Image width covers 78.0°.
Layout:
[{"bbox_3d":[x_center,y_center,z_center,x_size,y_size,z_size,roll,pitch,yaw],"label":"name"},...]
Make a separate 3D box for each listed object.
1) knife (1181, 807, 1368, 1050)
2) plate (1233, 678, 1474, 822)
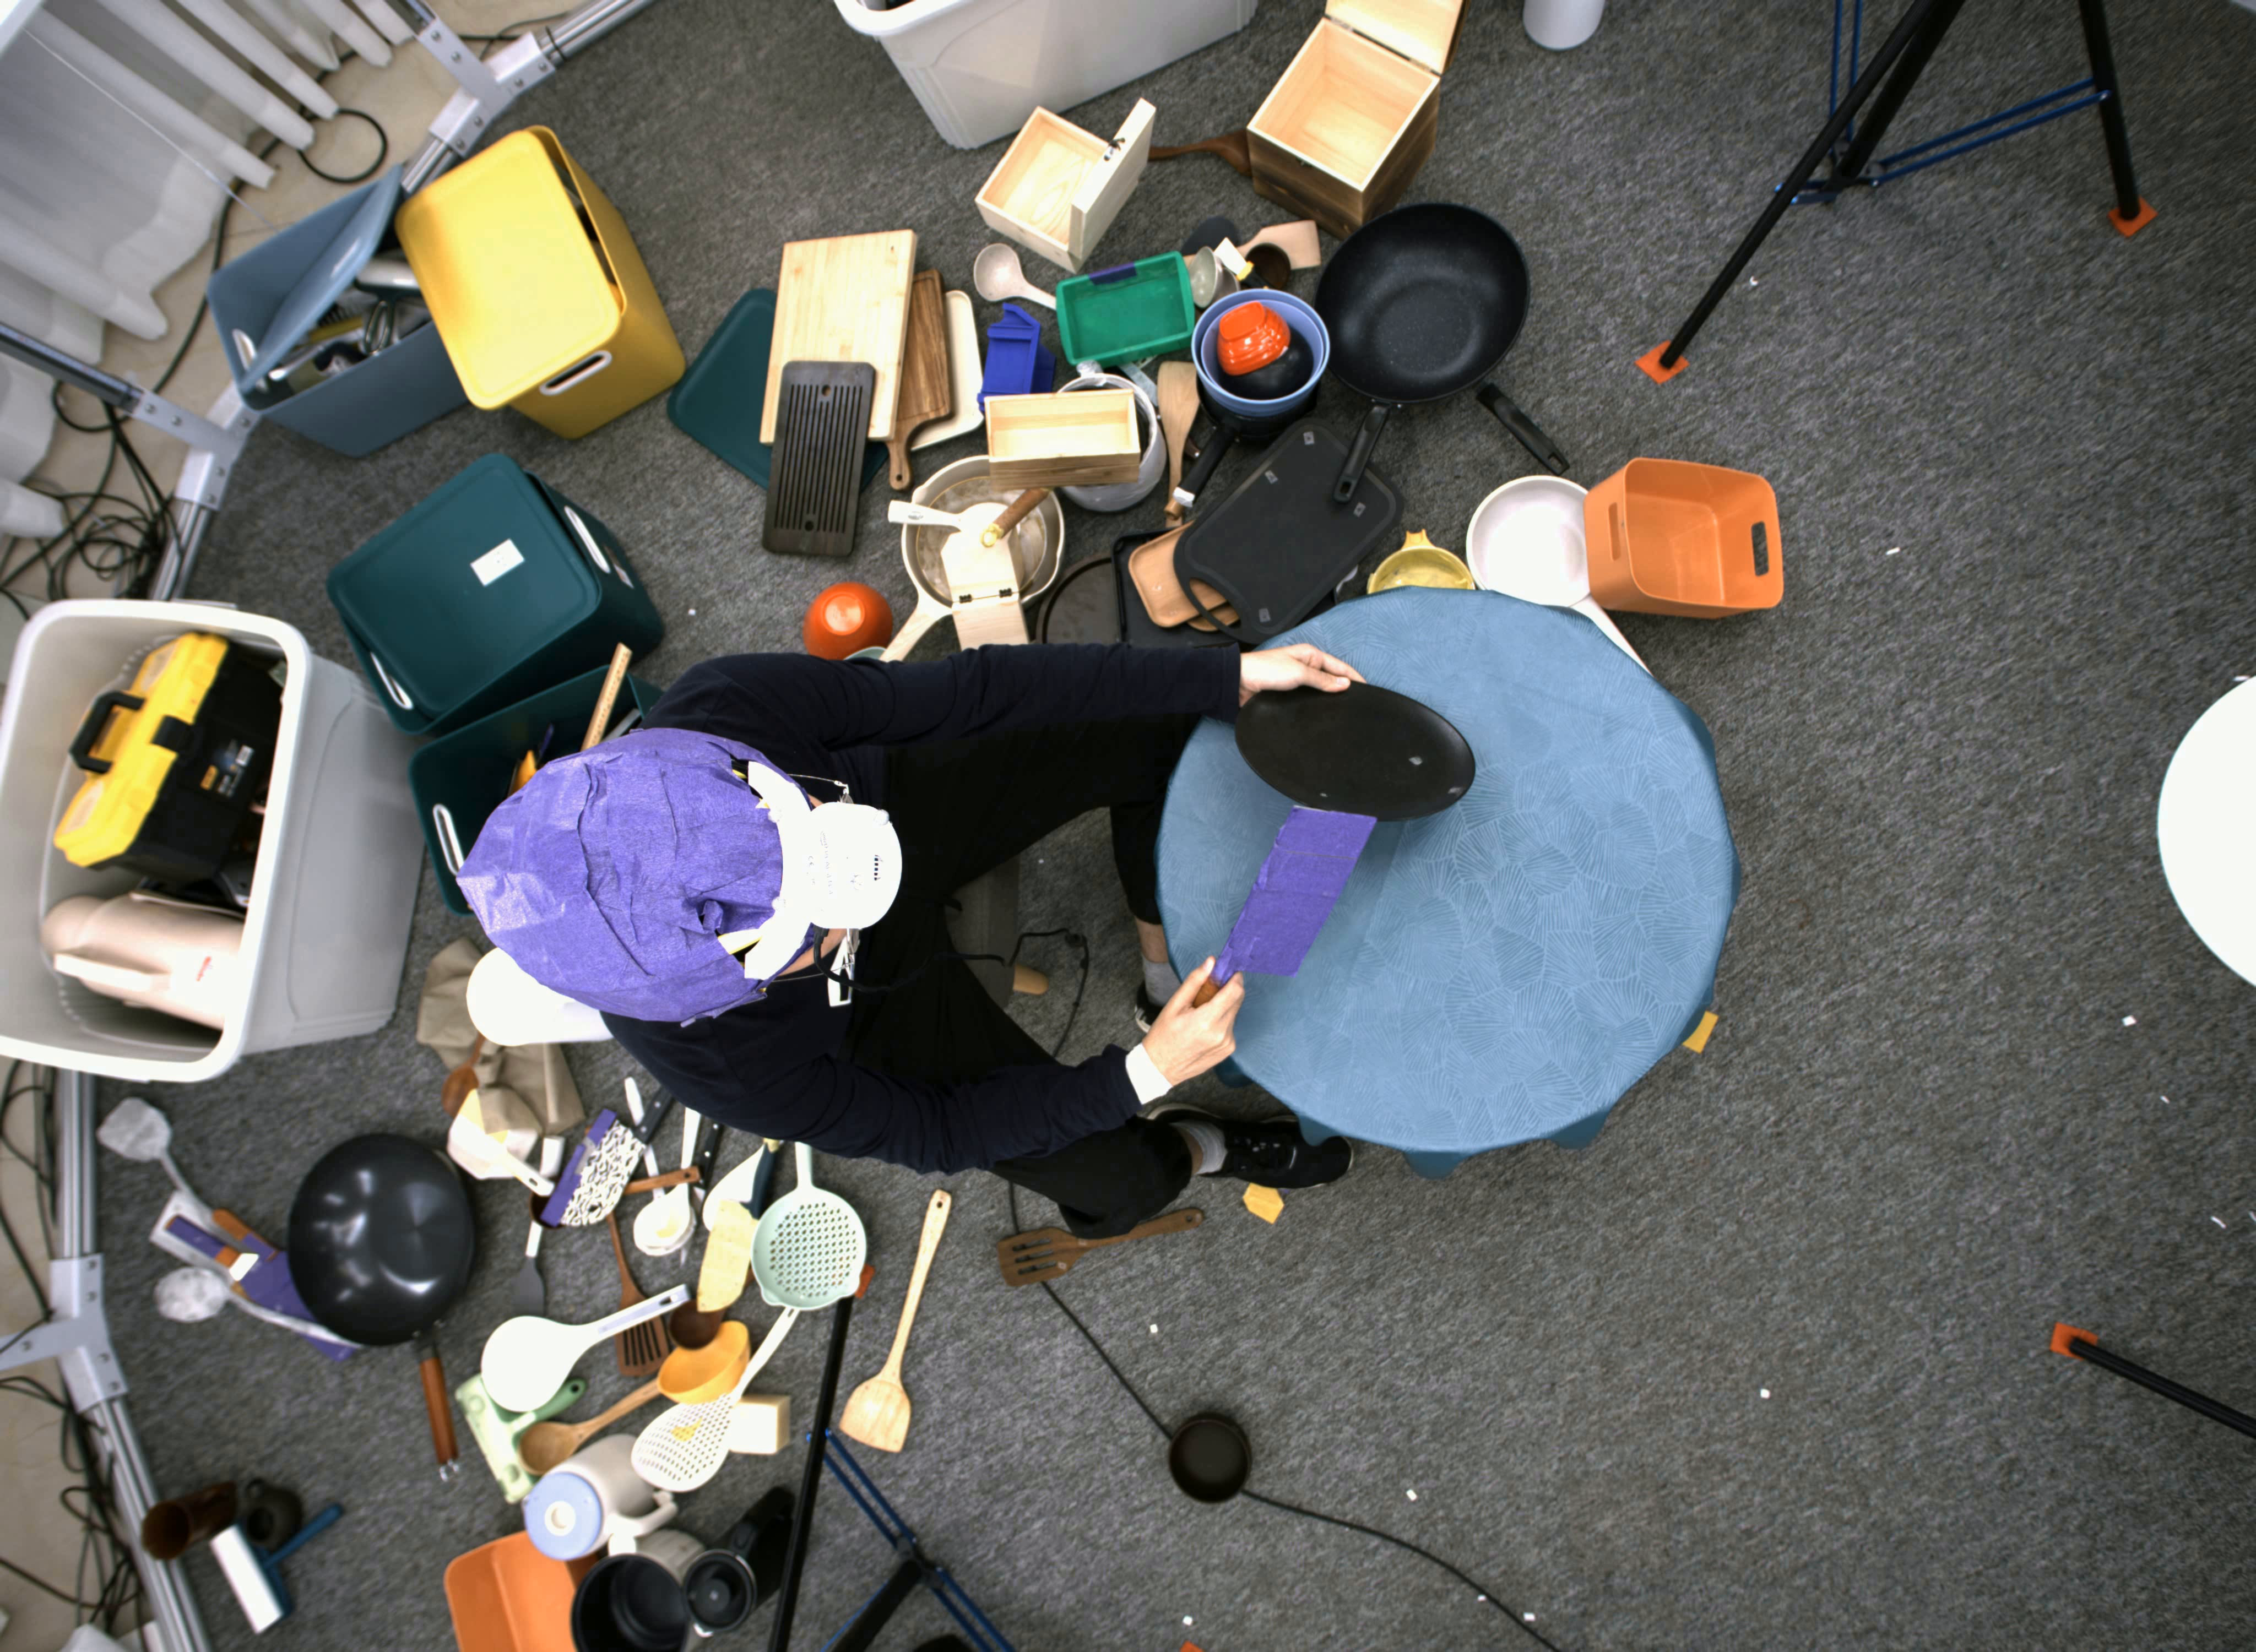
[{"bbox_3d":[0.143,0.108,1.353,0.104,0.031,0.323,7,130,-18],"label":"knife"},{"bbox_3d":[0.224,-0.075,1.377,0.244,0.238,0.024,16,130,11],"label":"plate"}]
